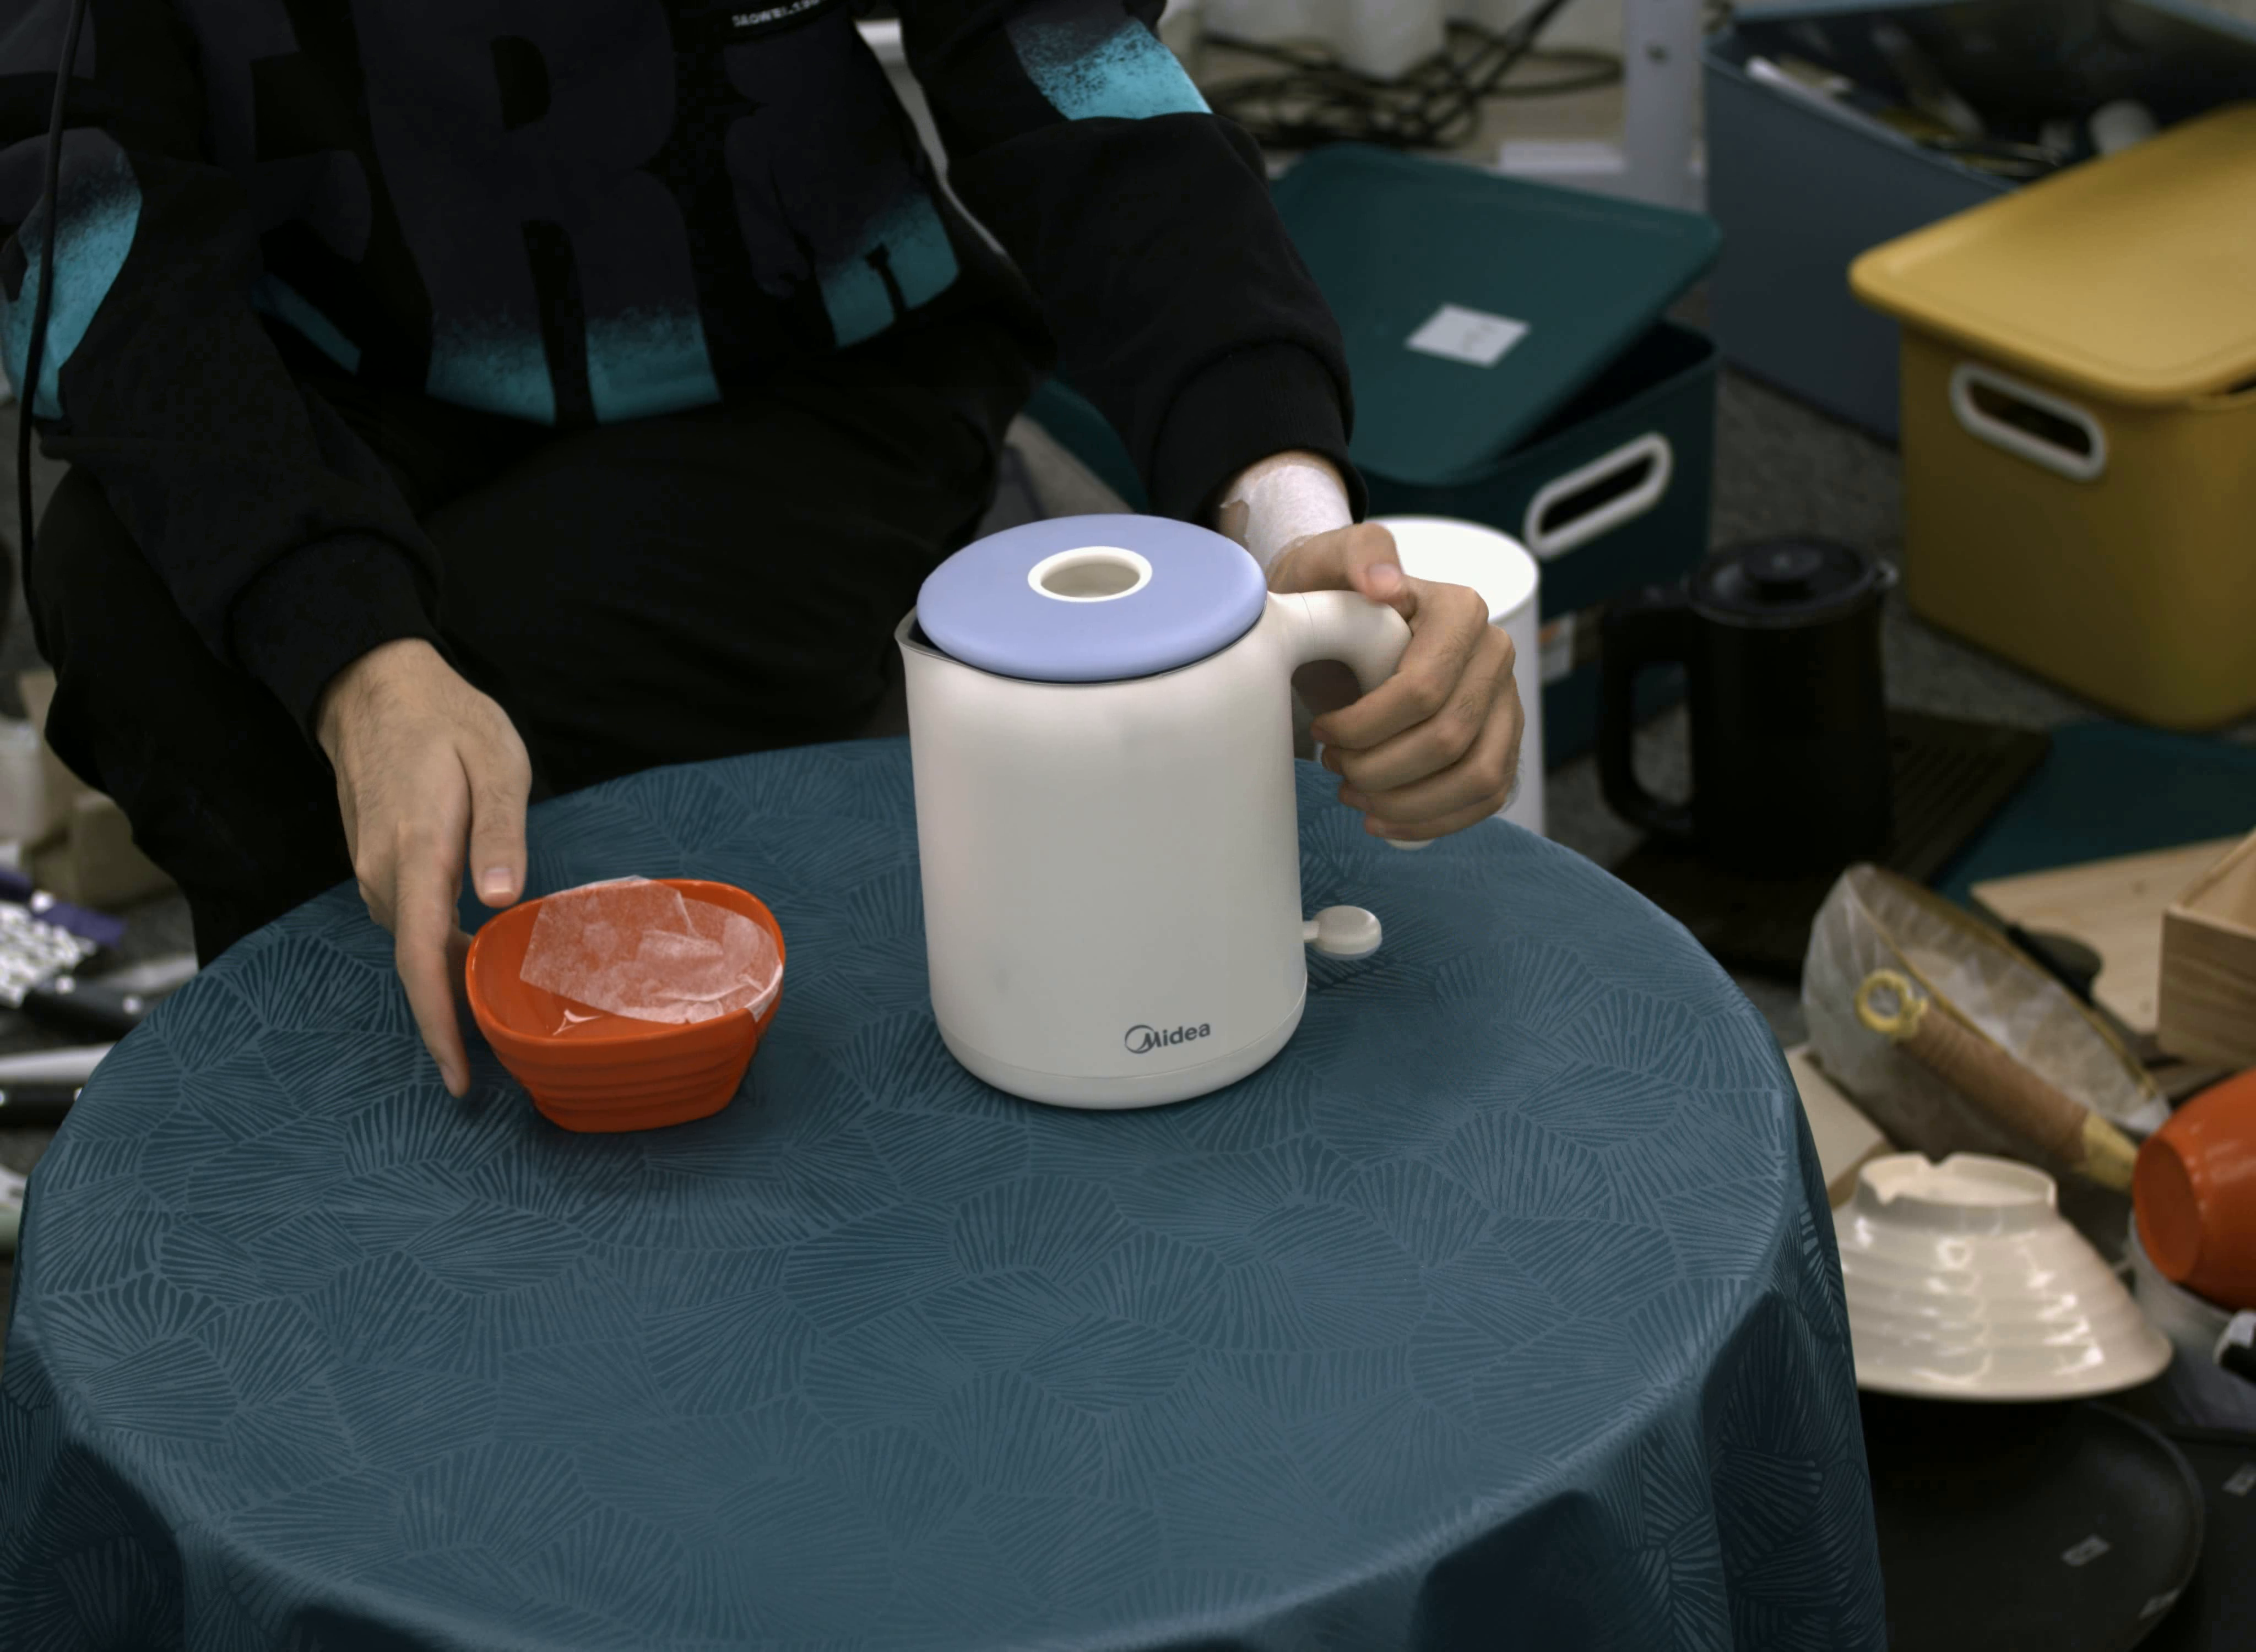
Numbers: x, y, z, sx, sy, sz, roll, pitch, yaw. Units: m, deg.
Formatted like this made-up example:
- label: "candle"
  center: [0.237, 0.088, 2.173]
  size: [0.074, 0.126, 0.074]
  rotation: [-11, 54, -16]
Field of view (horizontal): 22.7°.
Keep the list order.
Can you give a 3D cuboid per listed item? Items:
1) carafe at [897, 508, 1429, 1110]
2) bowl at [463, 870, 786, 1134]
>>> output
- label: "carafe"
  center: [0.015, -0.010, 1.930]
  size: [0.191, 0.180, 0.133]
  rotation: [-9, 28, -16]
- label: "bowl"
  center: [-0.170, 0.065, 1.927]
  size: [0.118, 0.051, 0.121]
  rotation: [-3, 30, 2]
